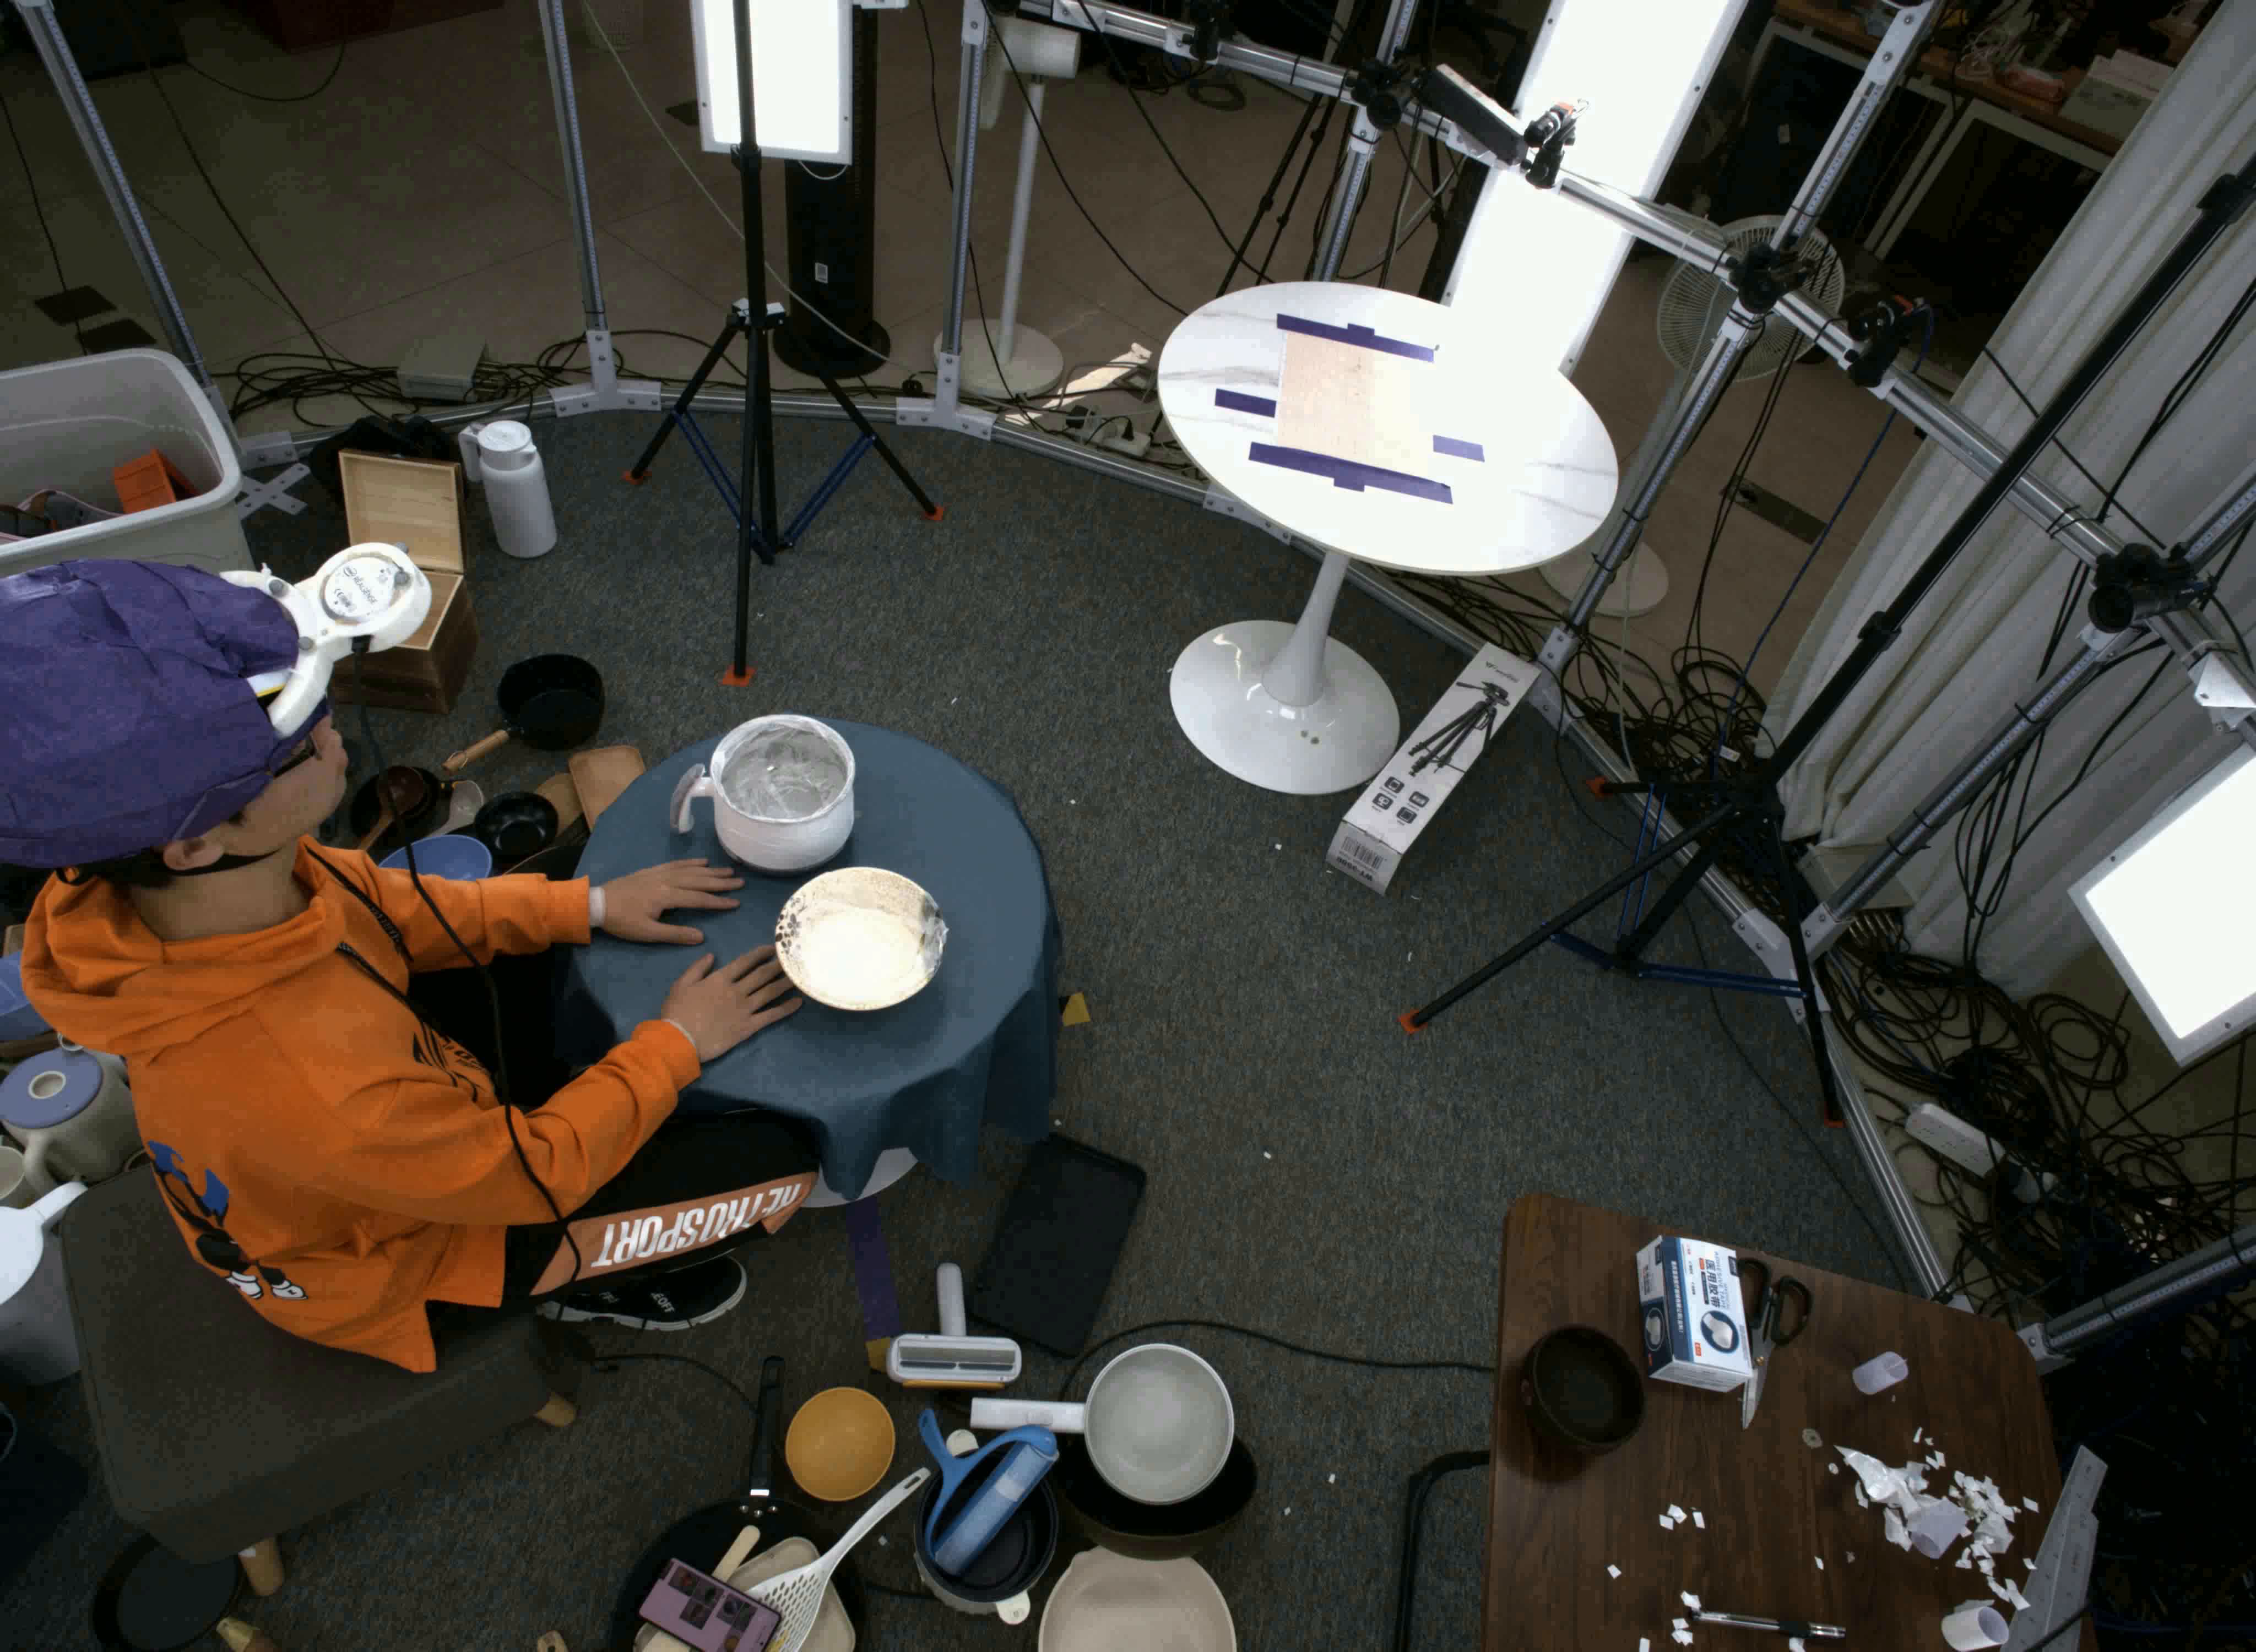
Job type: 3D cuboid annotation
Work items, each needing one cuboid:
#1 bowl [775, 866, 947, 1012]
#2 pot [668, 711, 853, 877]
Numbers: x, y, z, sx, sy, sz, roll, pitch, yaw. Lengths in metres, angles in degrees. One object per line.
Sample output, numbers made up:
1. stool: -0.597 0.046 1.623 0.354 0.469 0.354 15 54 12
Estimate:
1. bowl: -0.322 0.151 1.579 0.203 0.079 0.200 7 54 -8
2. pot: -0.467 -0.035 1.640 0.234 0.139 0.174 -3 53 -17
